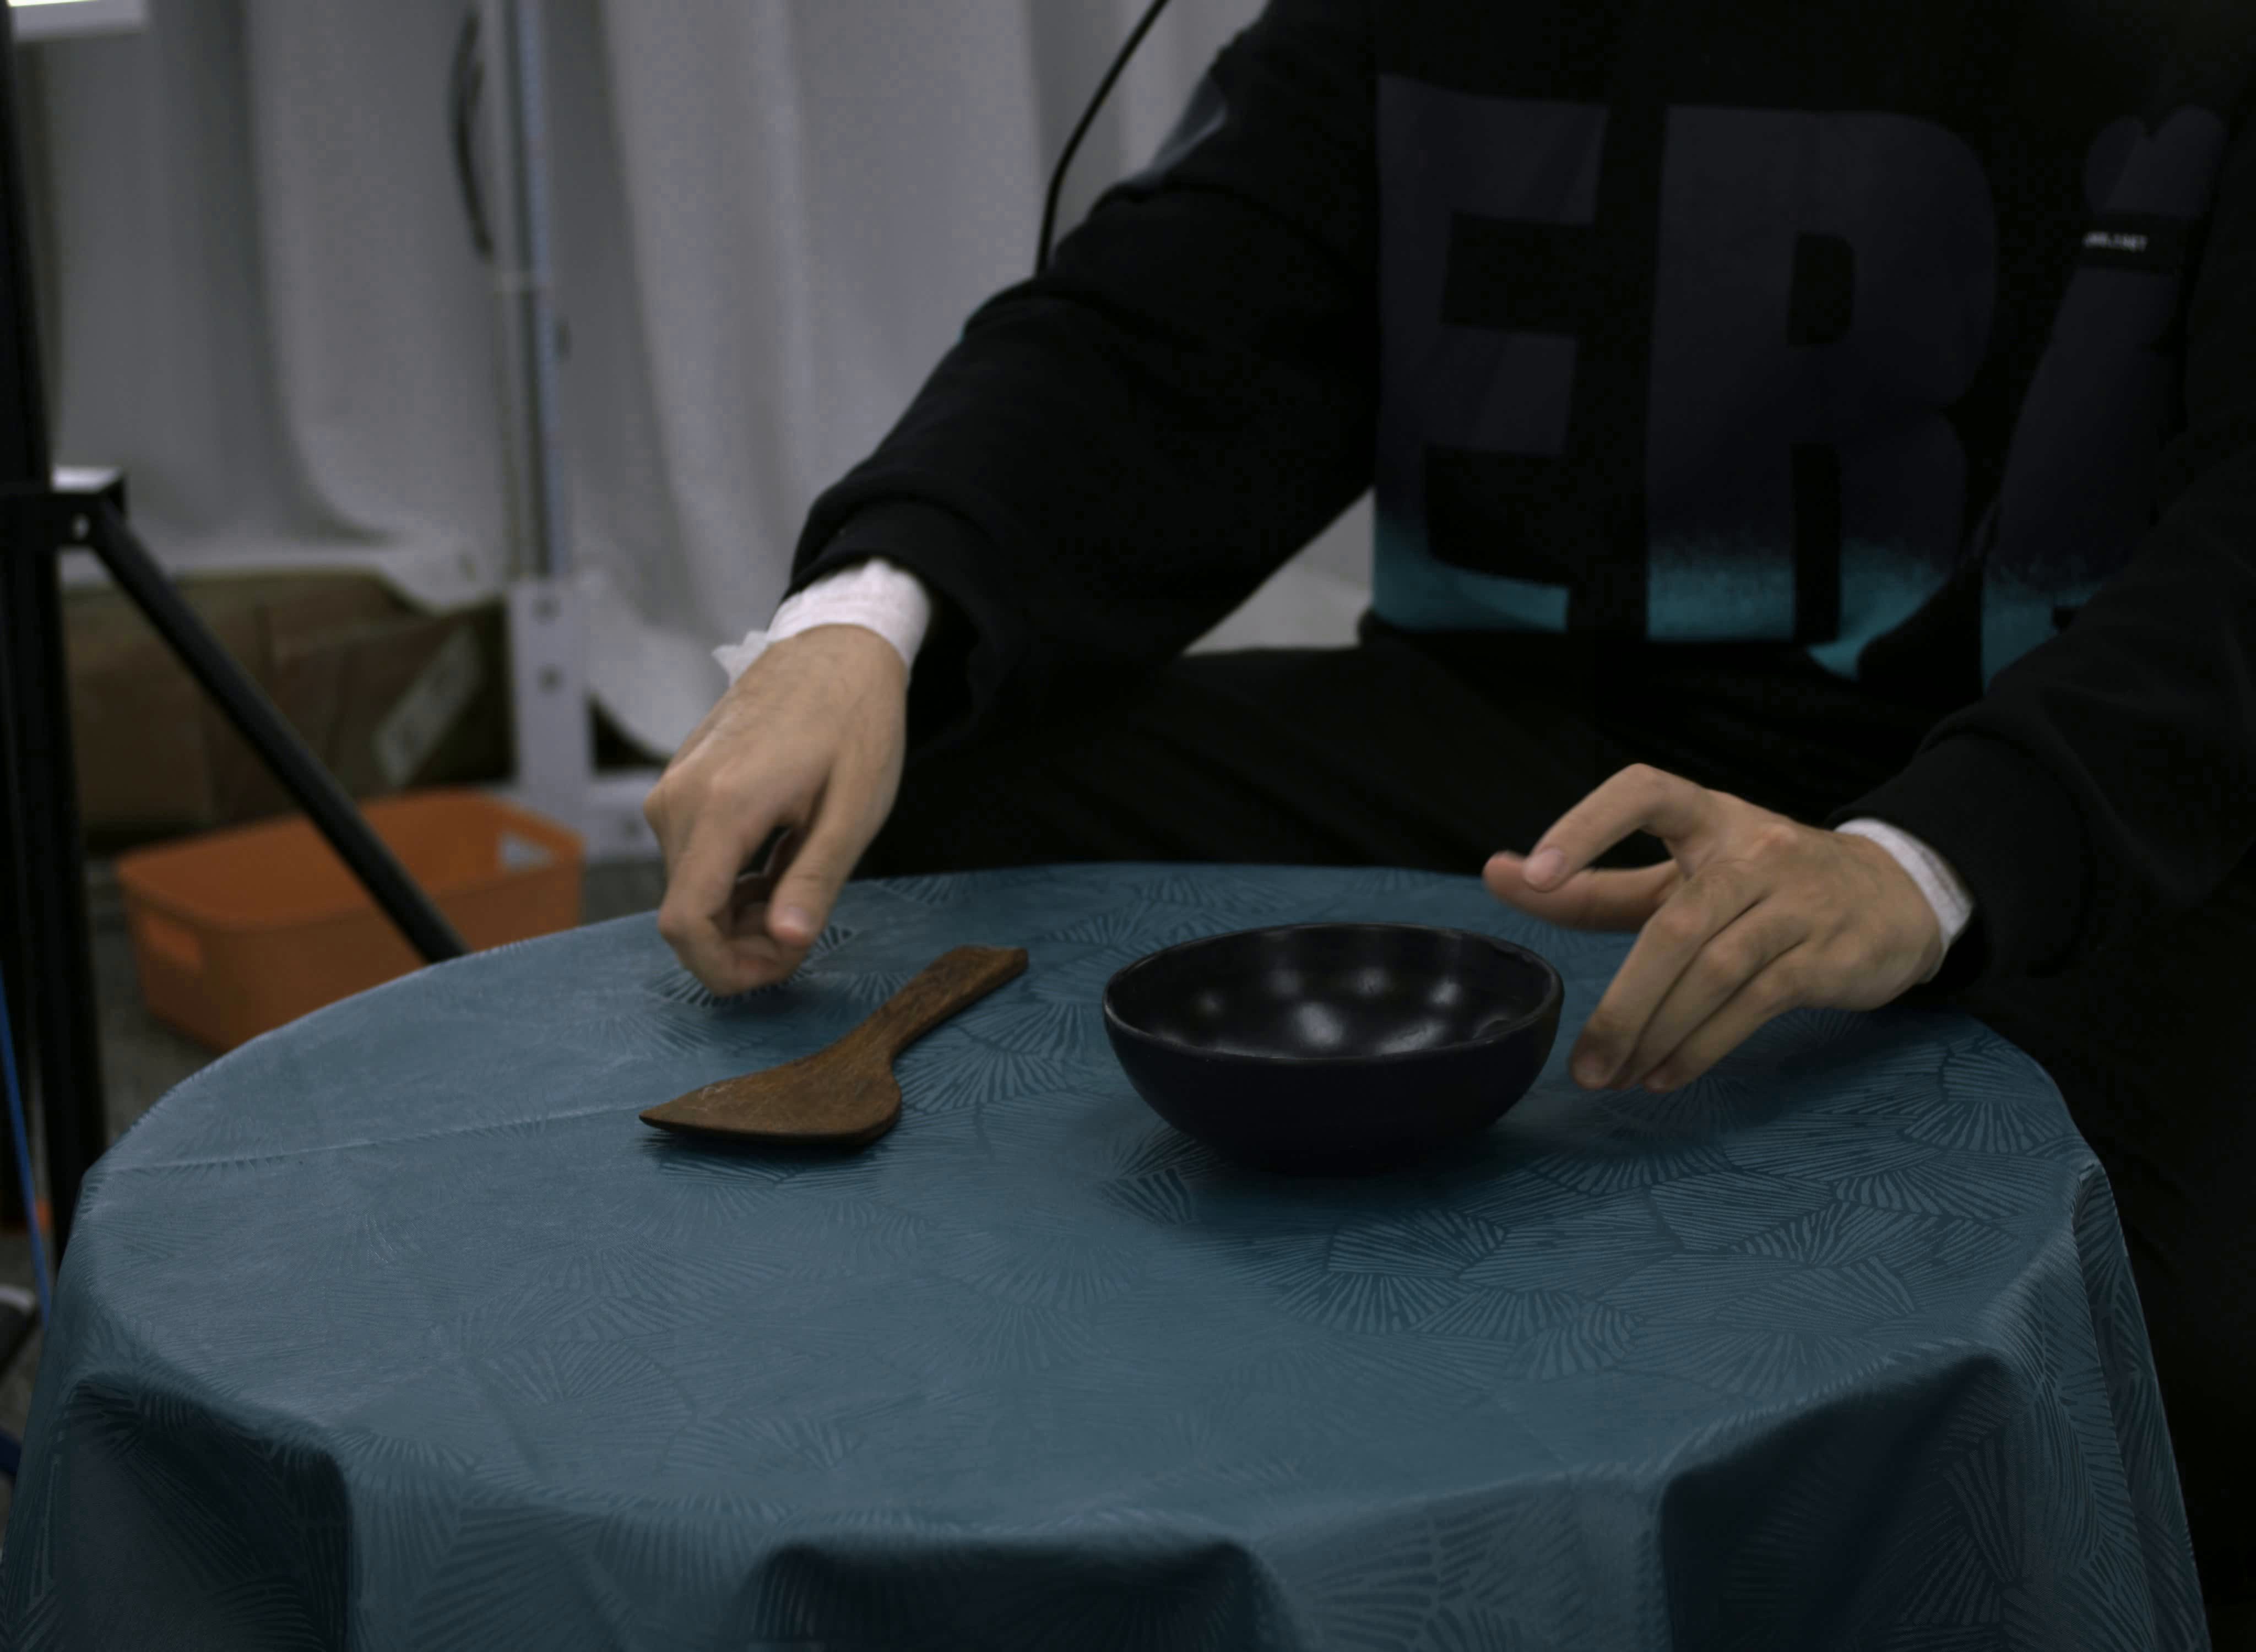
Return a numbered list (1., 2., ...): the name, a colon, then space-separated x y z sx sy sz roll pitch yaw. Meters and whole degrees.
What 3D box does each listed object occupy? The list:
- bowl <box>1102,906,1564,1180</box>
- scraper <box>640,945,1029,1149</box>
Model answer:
1. bowl: 0.063 0.070 1.585 0.139 0.049 0.141 -6 18 1
2. scraper: -0.080 0.069 1.694 0.077 0.011 0.208 5 17 21
